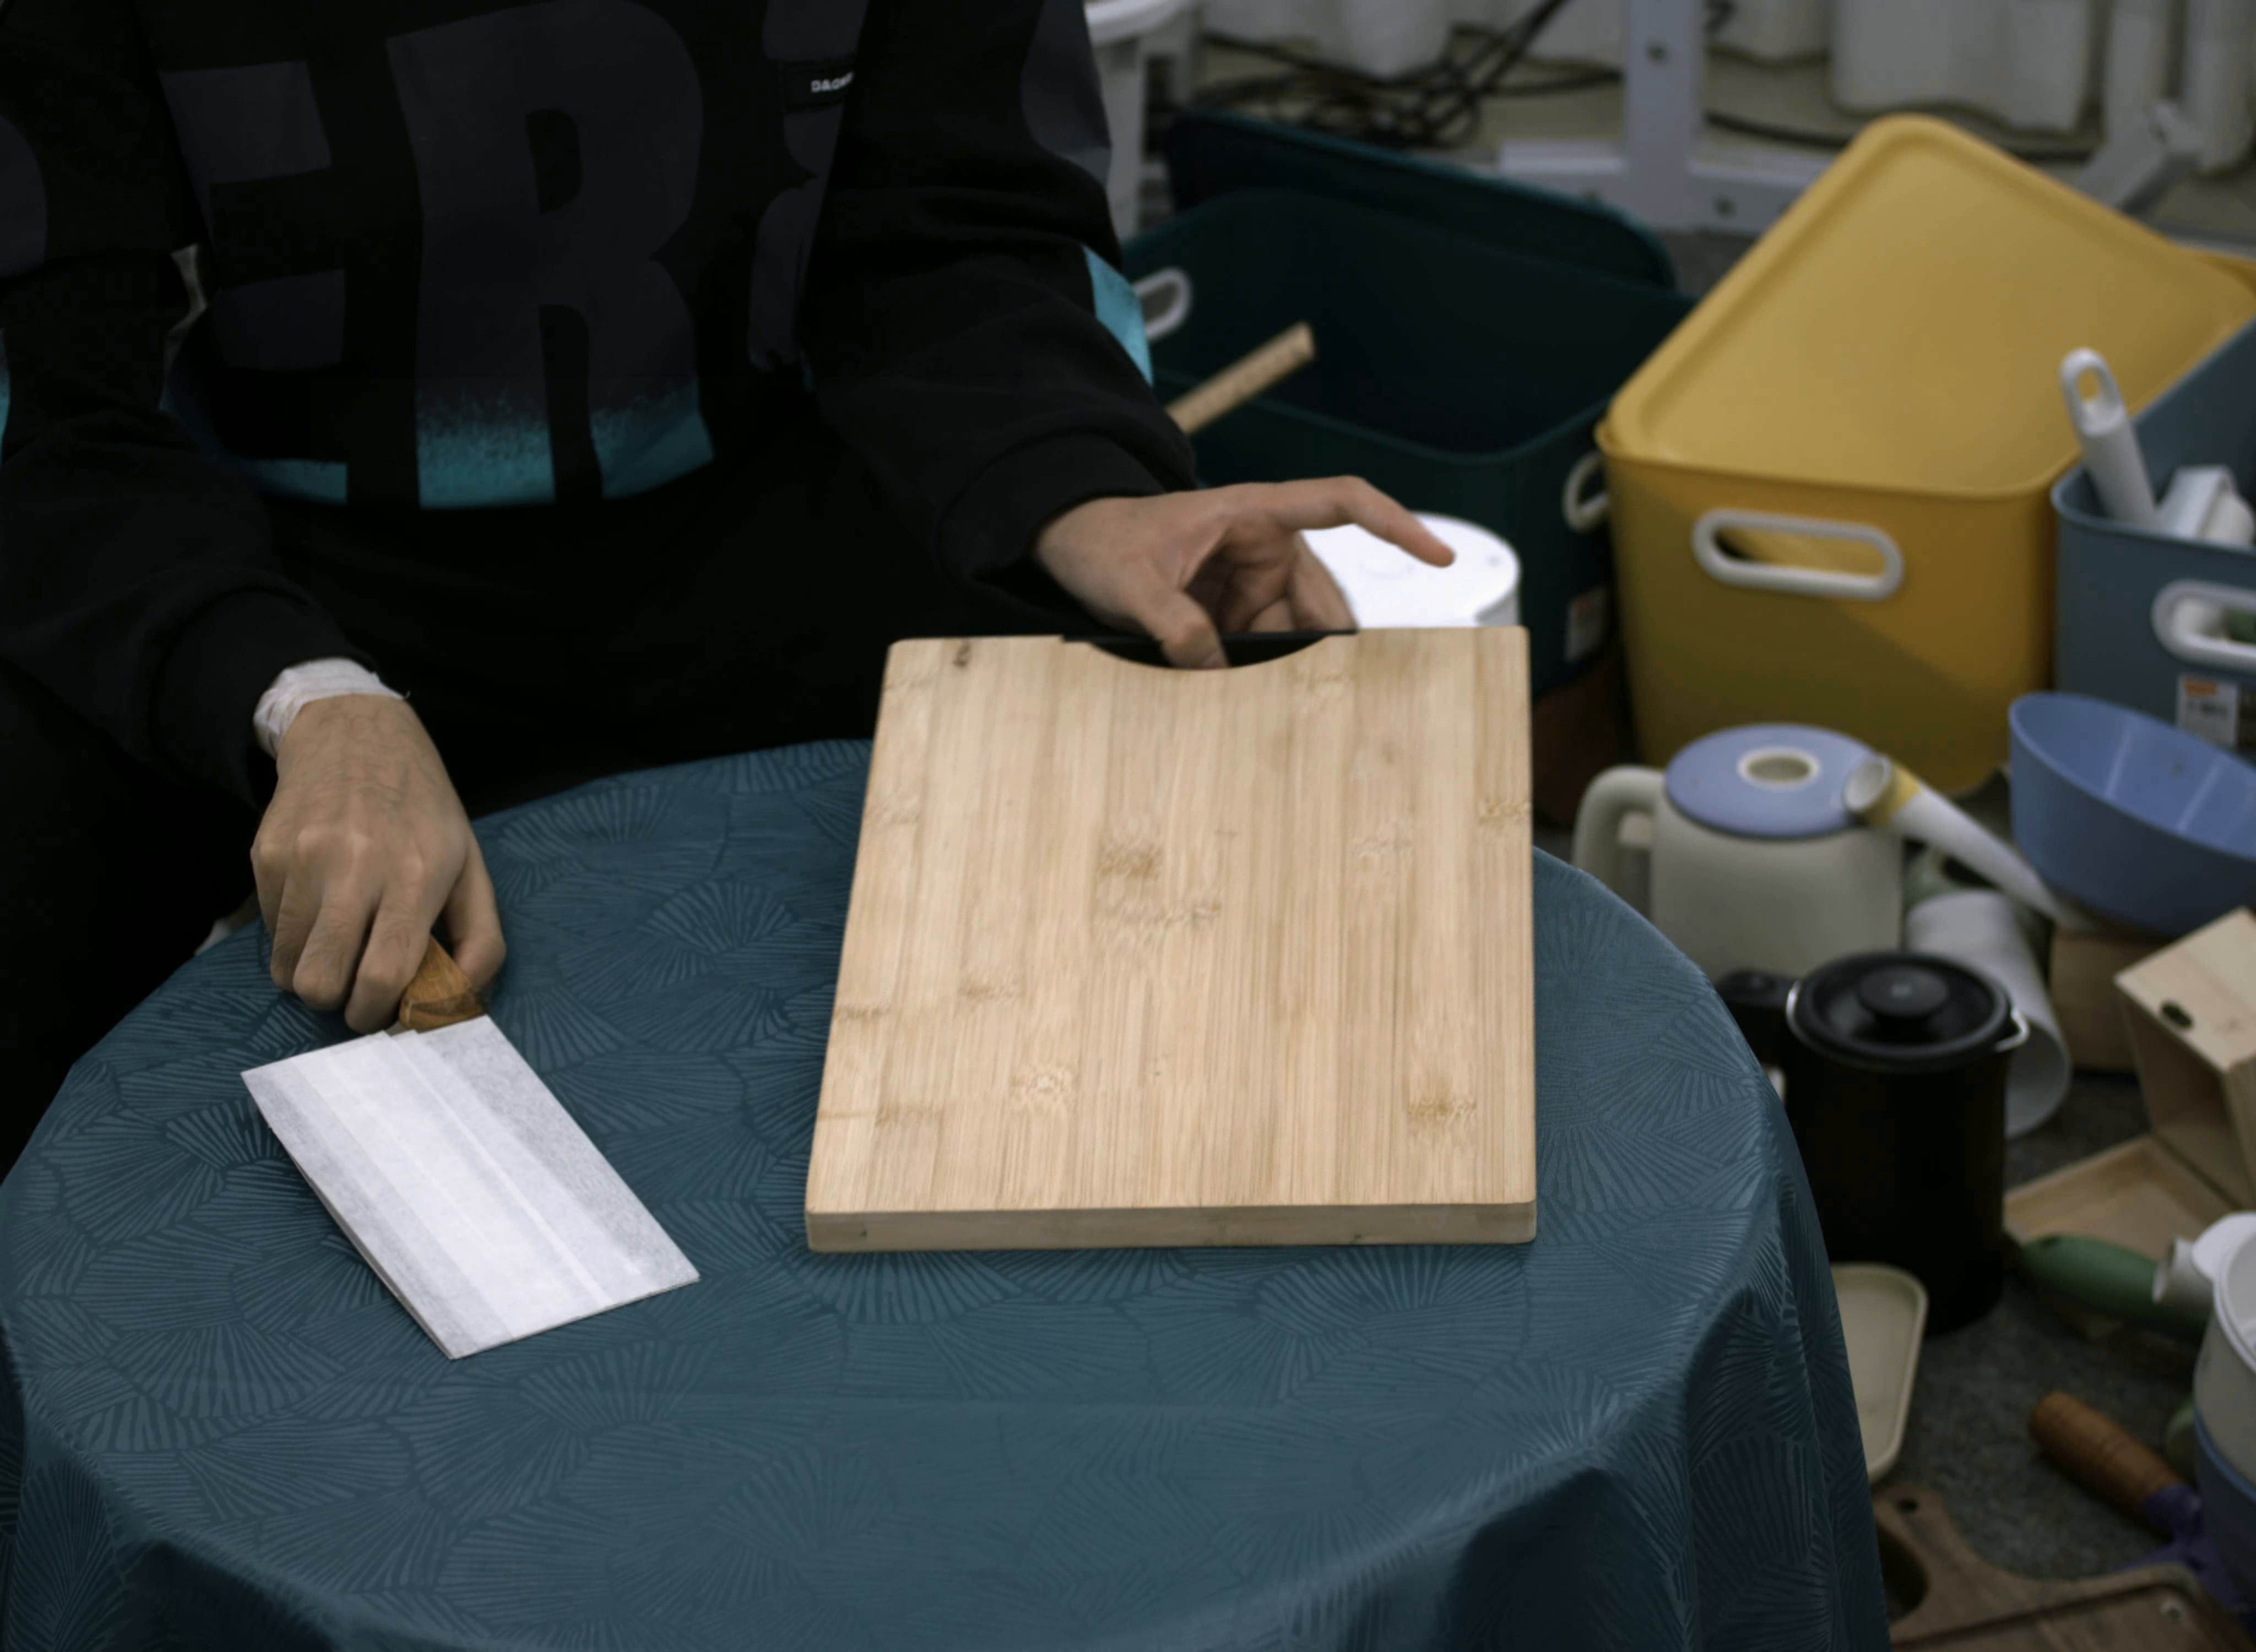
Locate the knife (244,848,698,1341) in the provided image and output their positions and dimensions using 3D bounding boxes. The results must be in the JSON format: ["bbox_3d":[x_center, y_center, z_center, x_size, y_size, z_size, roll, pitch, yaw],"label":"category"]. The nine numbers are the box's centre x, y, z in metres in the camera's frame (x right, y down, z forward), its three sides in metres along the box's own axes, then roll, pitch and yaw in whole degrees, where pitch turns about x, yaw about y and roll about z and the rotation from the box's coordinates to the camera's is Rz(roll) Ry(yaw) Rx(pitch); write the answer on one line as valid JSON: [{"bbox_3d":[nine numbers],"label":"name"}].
[{"bbox_3d":[-0.248,0.091,1.922,0.093,0.021,0.308,-16,34,-24],"label":"knife"}]

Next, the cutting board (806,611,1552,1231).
[{"bbox_3d":[0.027,0.029,1.973,0.249,0.023,0.355,-1,35,4],"label":"cutting board"}]
